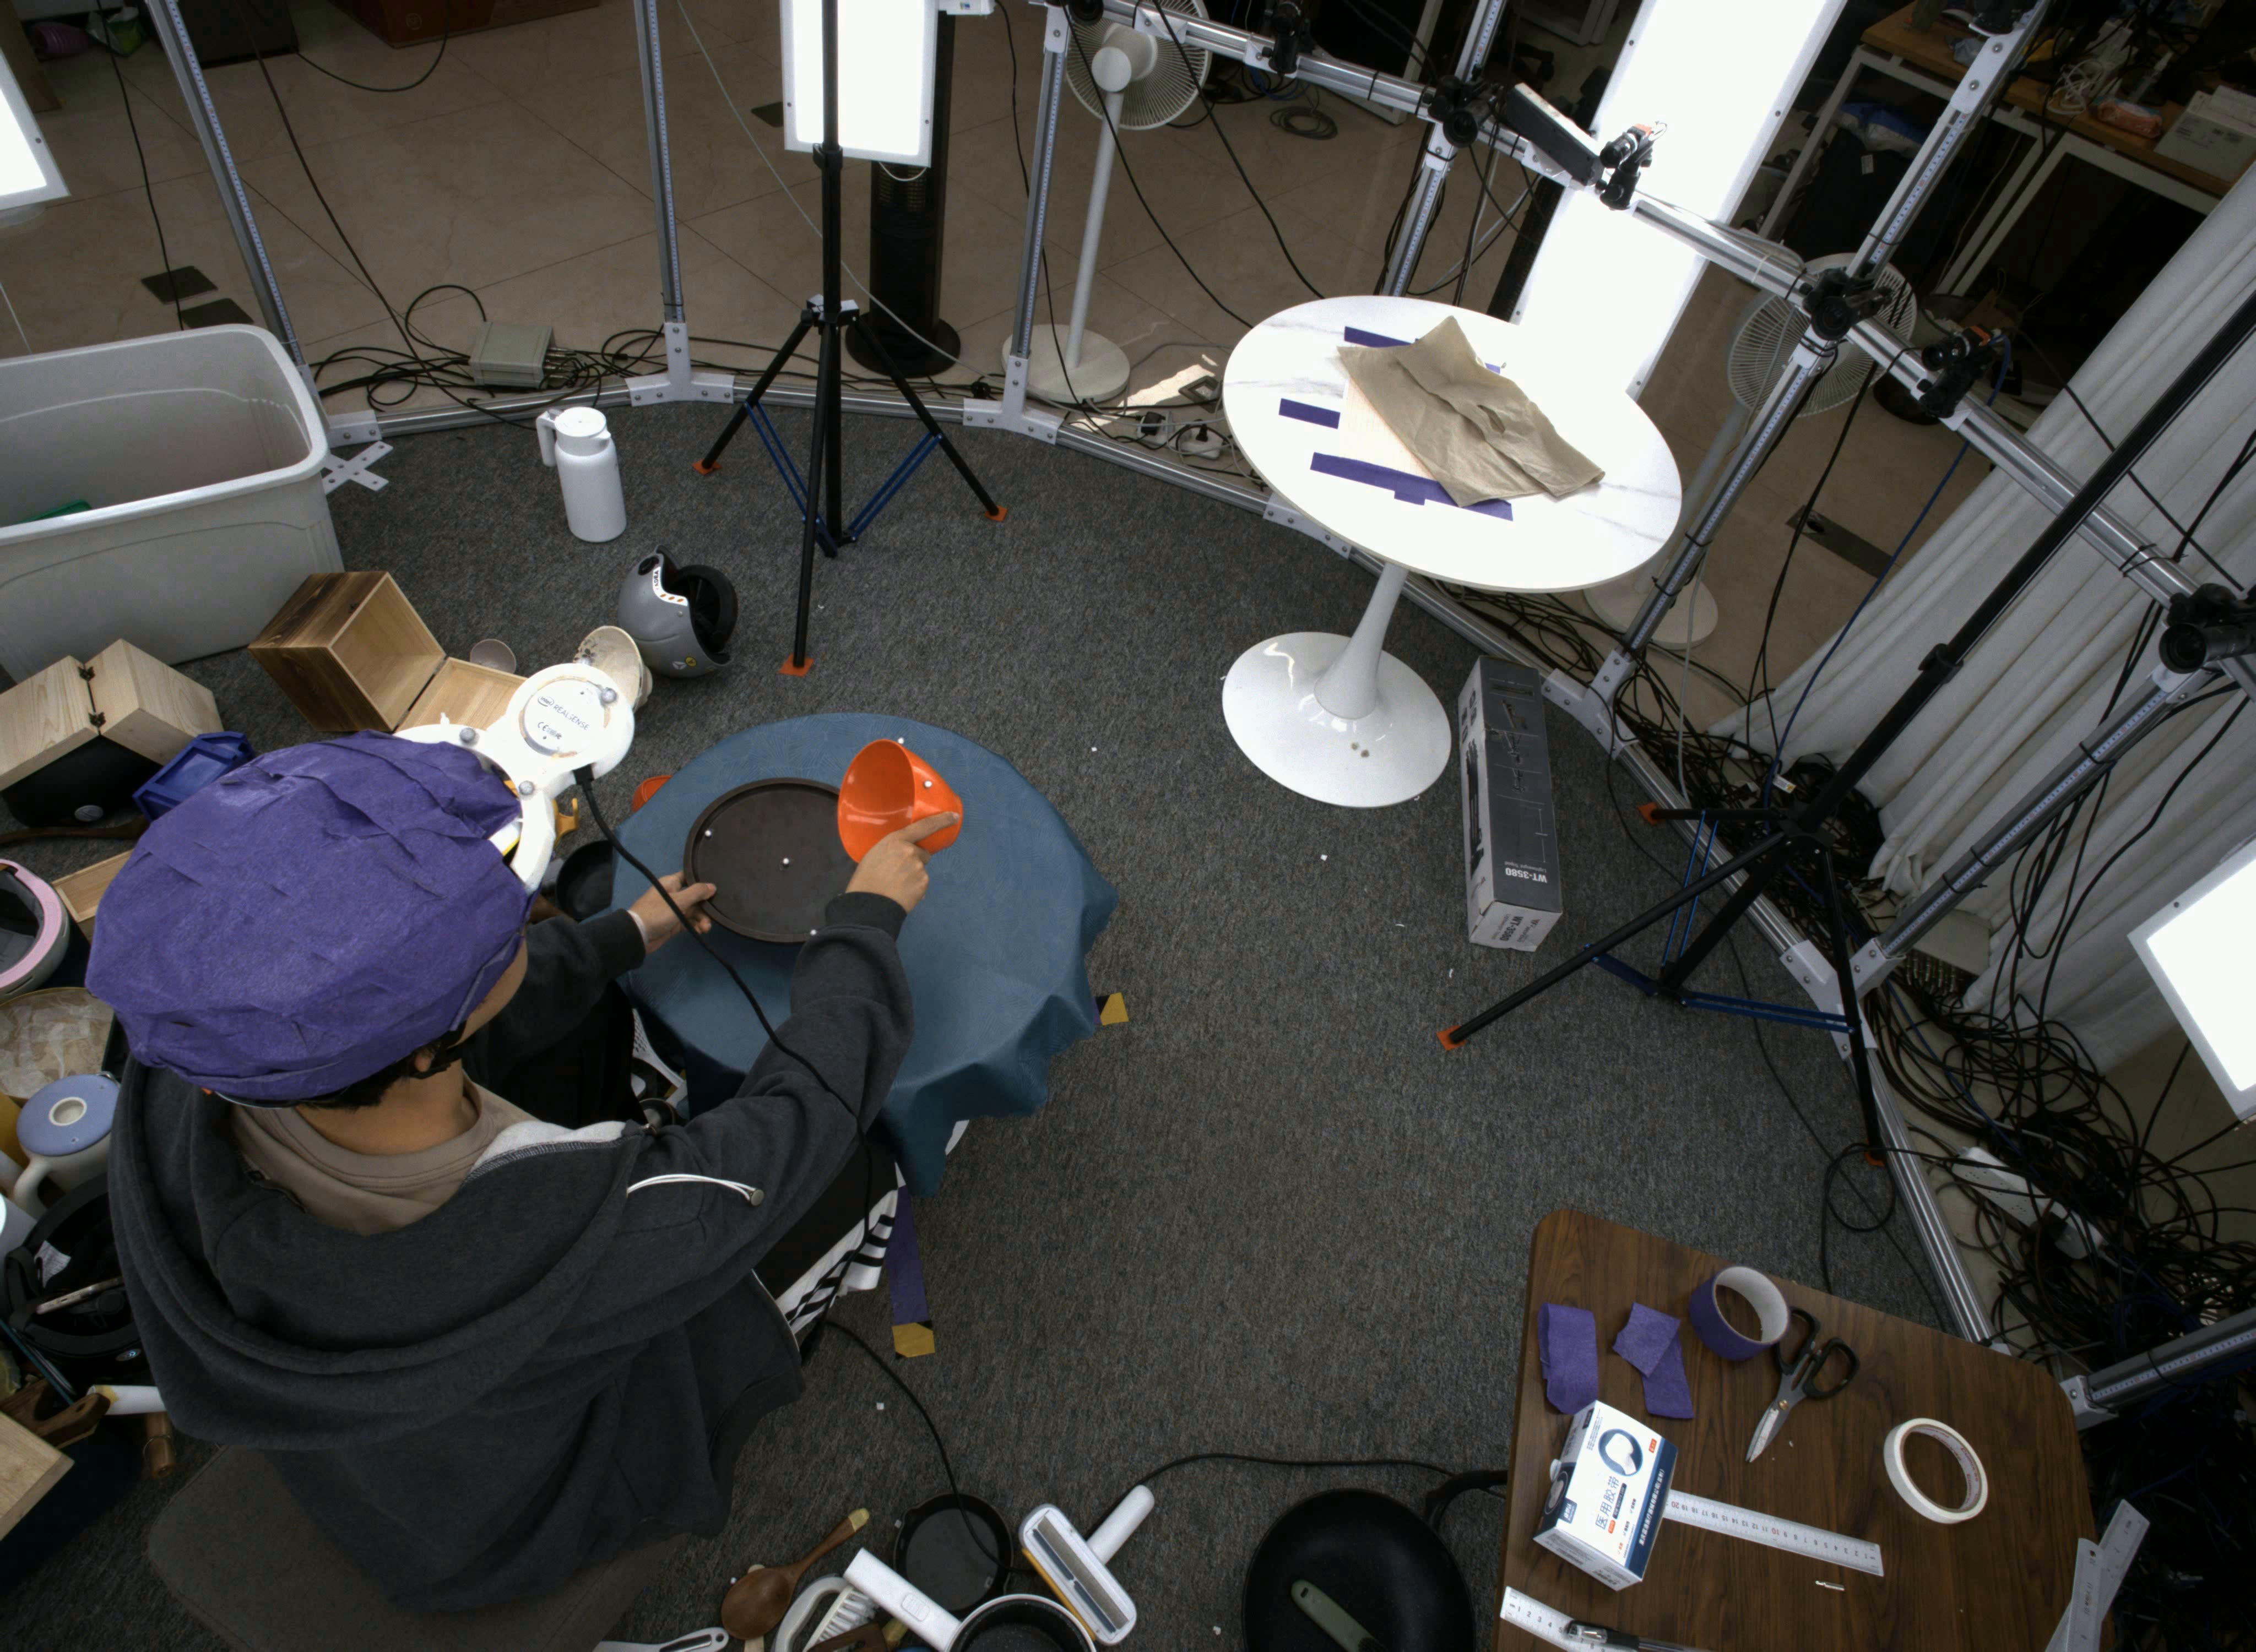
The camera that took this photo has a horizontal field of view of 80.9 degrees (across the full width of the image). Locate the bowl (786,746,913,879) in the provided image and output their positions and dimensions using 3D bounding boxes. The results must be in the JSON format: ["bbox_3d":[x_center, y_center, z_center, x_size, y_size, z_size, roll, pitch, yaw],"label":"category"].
[{"bbox_3d":[-0.312,-0.009,1.484,0.107,0.148,0.144,12,44,-39],"label":"bowl"}]

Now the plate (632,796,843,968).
[{"bbox_3d":[-0.478,0.065,1.585,0.255,0.029,0.250,10,52,-11],"label":"plate"}]
